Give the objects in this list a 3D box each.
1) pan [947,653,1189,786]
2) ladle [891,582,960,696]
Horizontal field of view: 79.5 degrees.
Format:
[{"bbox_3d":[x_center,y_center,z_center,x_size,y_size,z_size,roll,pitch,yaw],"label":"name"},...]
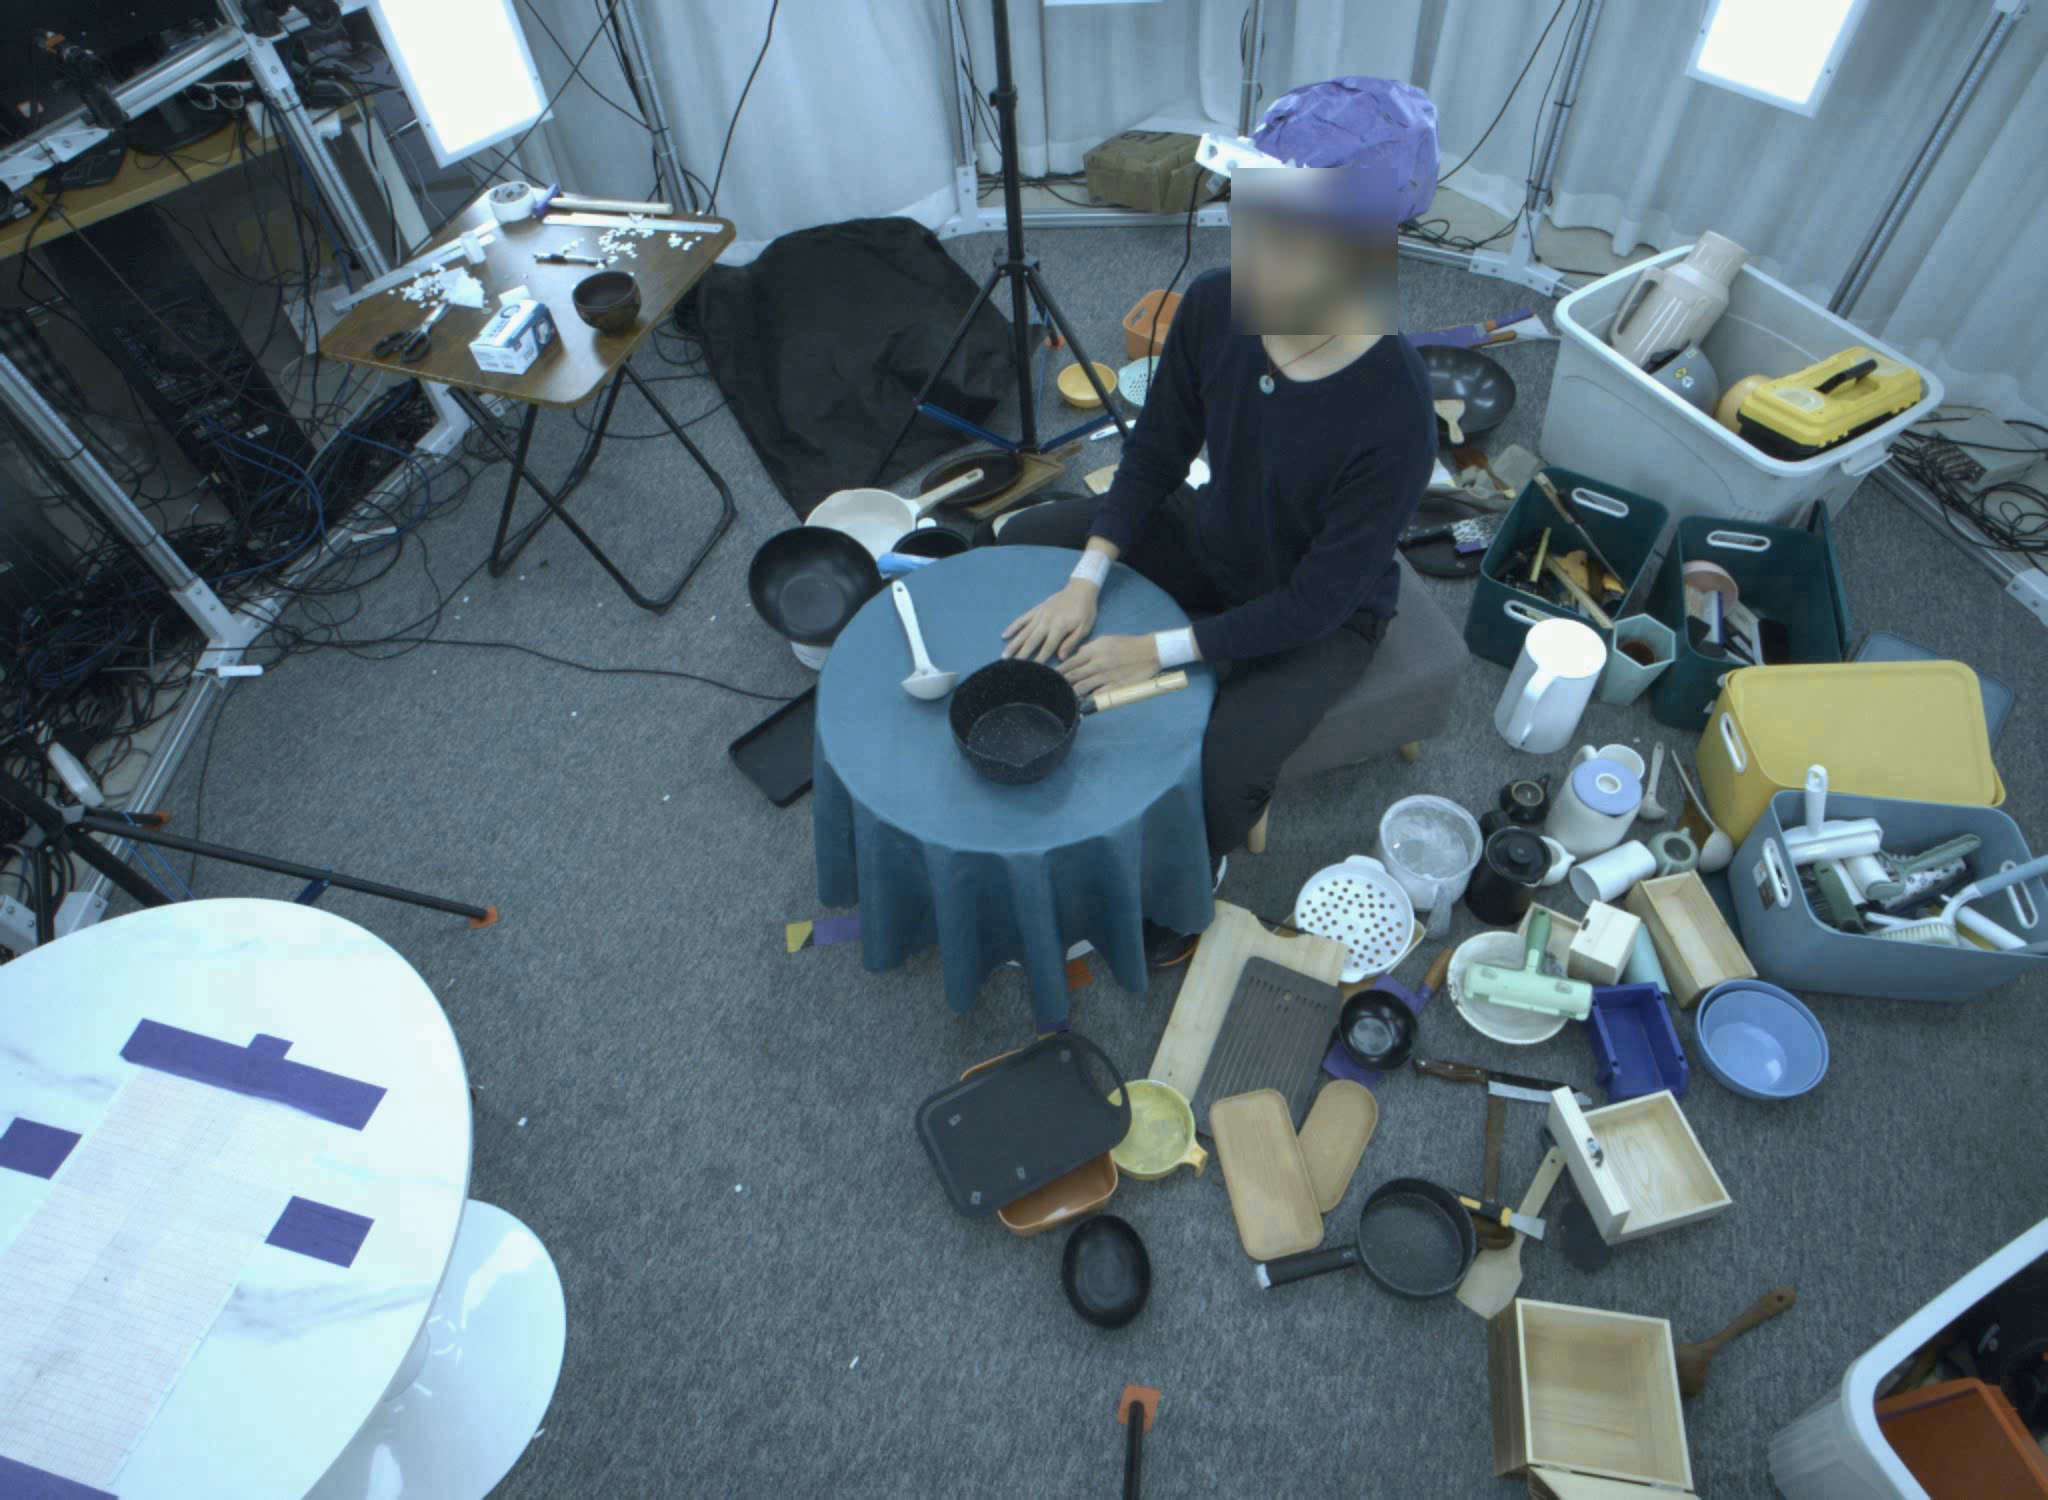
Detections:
[{"bbox_3d":[0.064,-0.053,1.755,0.343,0.109,0.204,-9,54,-2],"label":"pan"},{"bbox_3d":[-0.168,-0.192,1.885,0.090,0.069,0.270,-6,51,-18],"label":"ladle"}]
